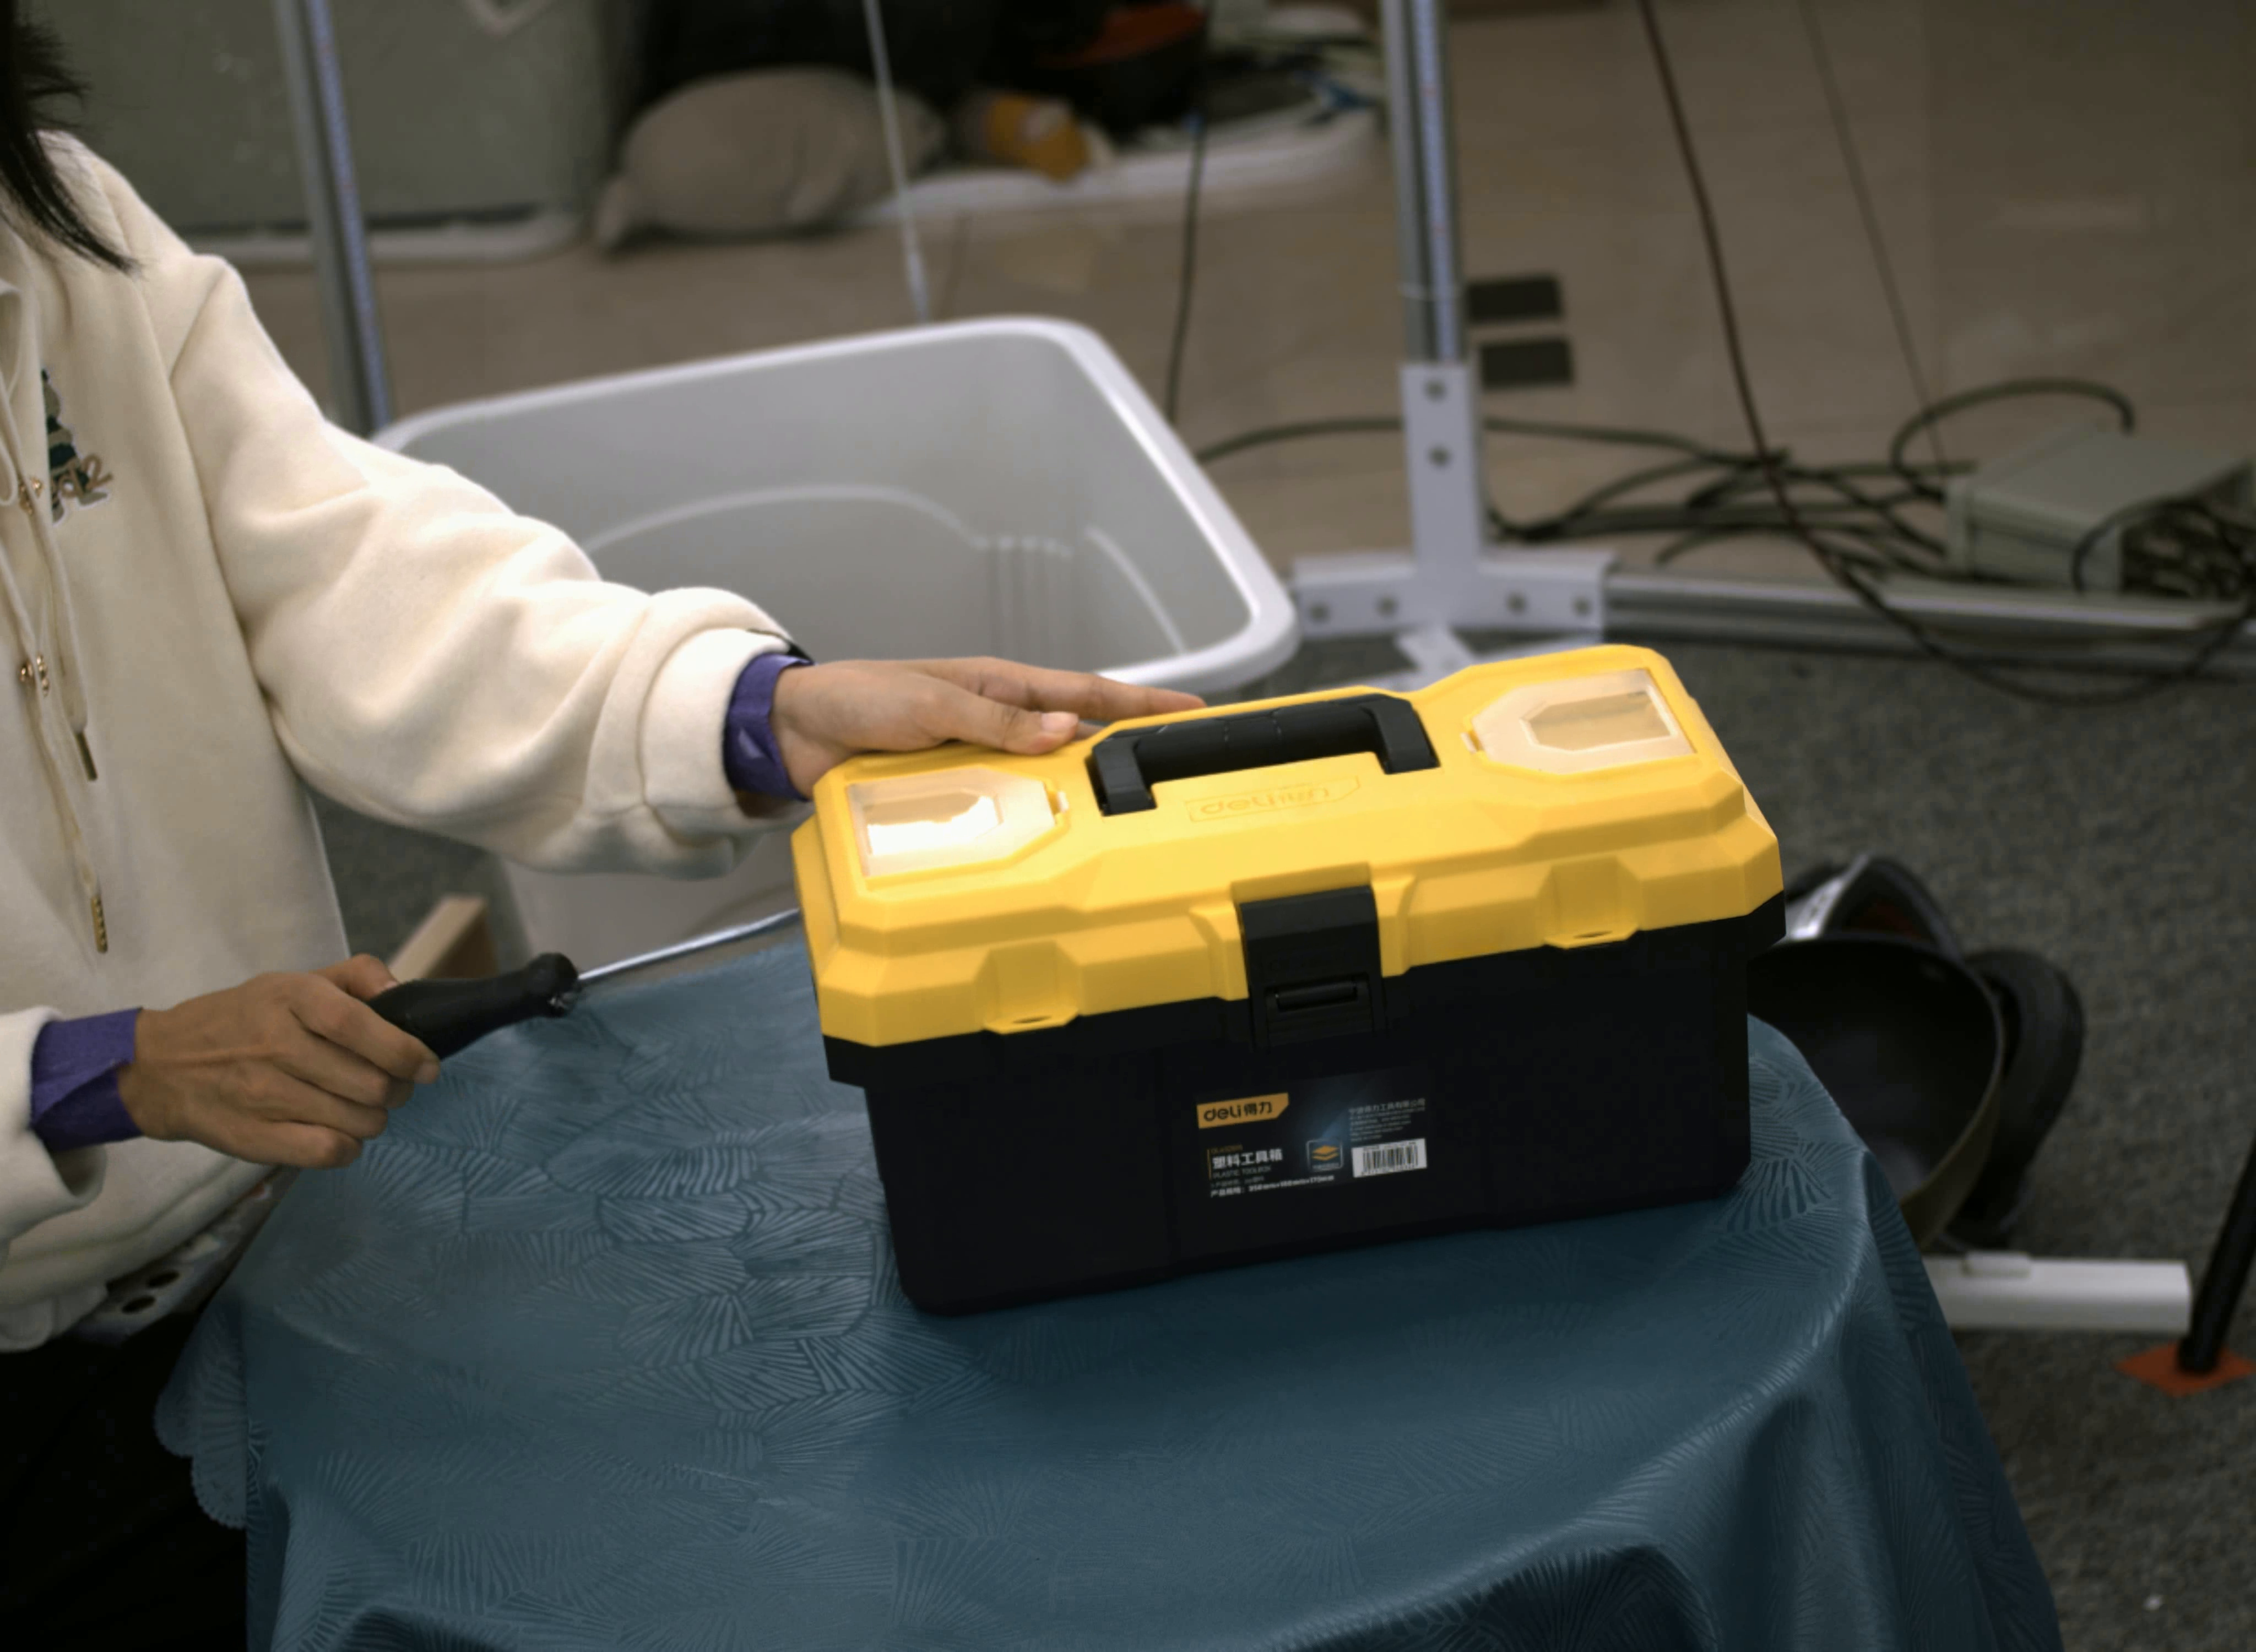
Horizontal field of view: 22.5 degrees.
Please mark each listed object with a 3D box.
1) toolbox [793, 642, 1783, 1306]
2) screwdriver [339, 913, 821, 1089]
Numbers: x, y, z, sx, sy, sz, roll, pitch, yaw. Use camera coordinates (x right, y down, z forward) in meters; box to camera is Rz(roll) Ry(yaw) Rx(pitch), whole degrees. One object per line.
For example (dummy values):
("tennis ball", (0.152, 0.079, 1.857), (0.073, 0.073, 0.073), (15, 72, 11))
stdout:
("toolbox", (0.059, 0.056, 2.103), (0.351, 0.175, 0.179), (-8, 25, -3))
("screwdriver", (-0.196, 0.062, 2.045), (0.198, 0.032, 0.031), (-14, 22, 19))
